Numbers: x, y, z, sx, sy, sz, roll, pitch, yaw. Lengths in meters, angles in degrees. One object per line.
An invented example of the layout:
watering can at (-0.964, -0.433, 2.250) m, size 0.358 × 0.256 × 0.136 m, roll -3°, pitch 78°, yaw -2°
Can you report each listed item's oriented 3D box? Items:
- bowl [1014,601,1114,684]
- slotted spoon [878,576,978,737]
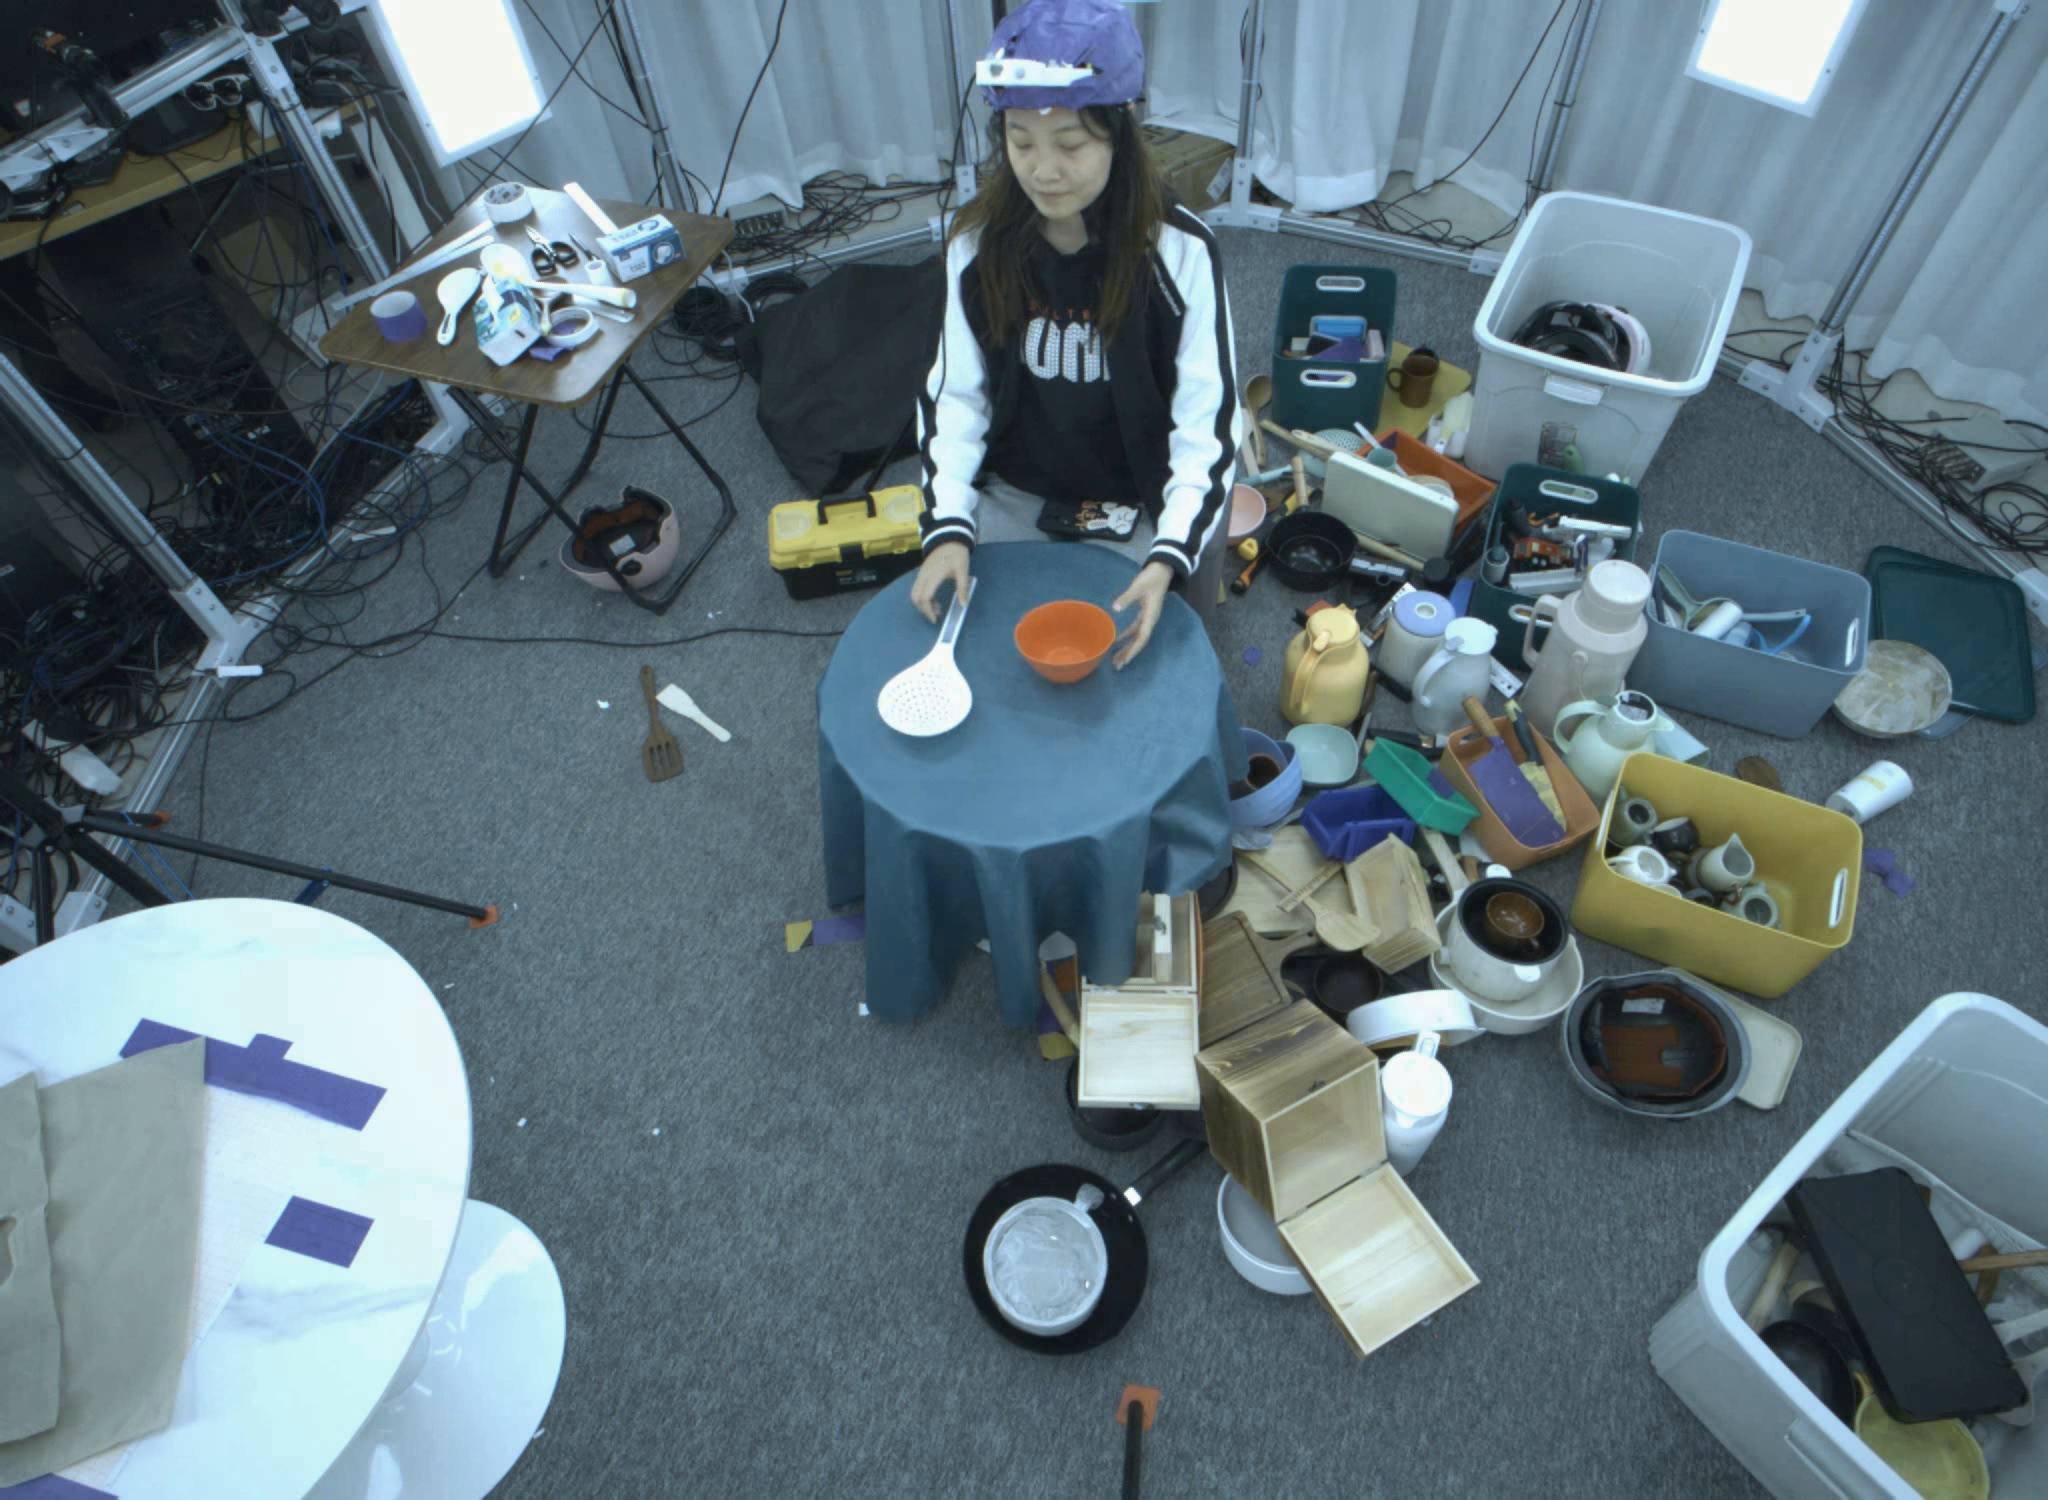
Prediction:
bowl at (0.062, -0.147, 1.828) m, size 0.147 × 0.106 × 0.146 m, roll -2°, pitch 54°, yaw 4°
slotted spoon at (-0.124, -0.147, 1.868) m, size 0.135 × 0.046 × 0.348 m, roll 9°, pitch 55°, yaw 7°
